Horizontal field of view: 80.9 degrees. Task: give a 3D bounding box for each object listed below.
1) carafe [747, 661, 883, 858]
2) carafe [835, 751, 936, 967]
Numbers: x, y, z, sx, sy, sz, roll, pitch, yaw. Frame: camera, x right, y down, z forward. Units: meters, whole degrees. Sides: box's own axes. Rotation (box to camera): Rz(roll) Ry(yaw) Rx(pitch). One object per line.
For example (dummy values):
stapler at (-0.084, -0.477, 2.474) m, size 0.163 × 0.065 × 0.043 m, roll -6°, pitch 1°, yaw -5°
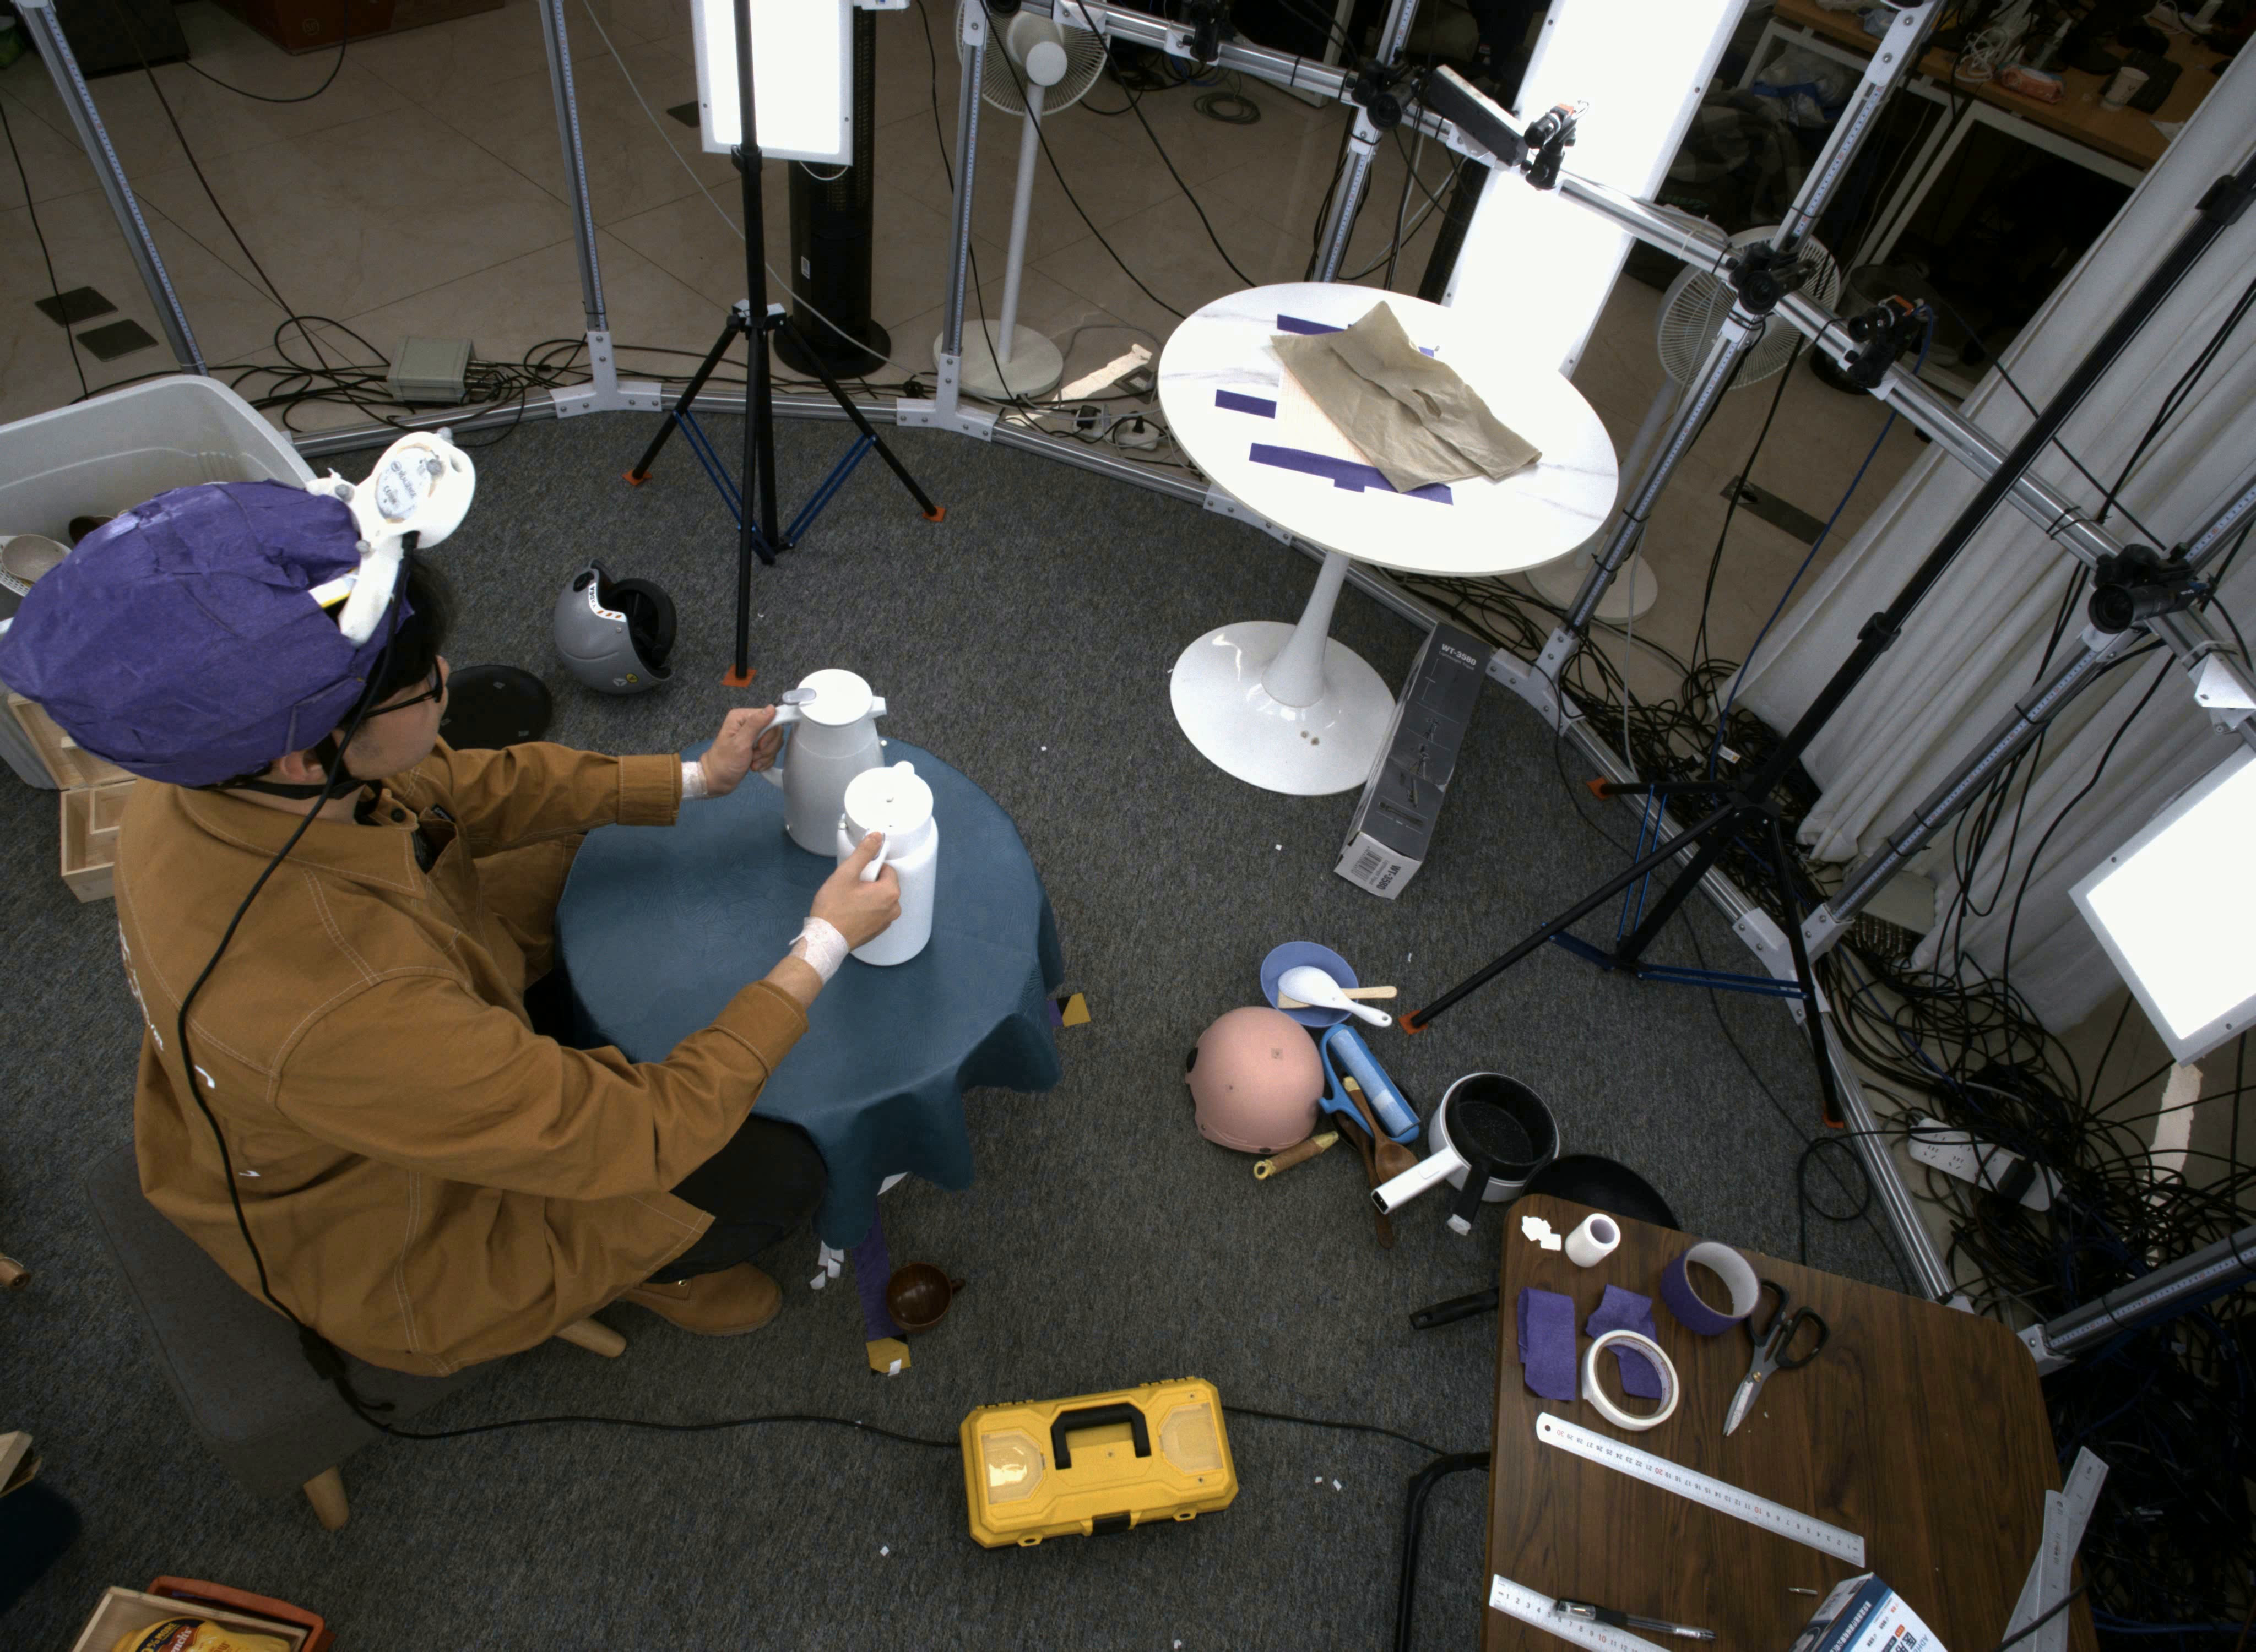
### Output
carafe at (-0.392, -0.087, 1.634) m, size 0.168 × 0.254 × 0.129 m, roll -5°, pitch 53°, yaw -14°
carafe at (-0.291, 0.060, 1.537) m, size 0.123 × 0.274 × 0.170 m, roll 15°, pitch 51°, yaw -2°
